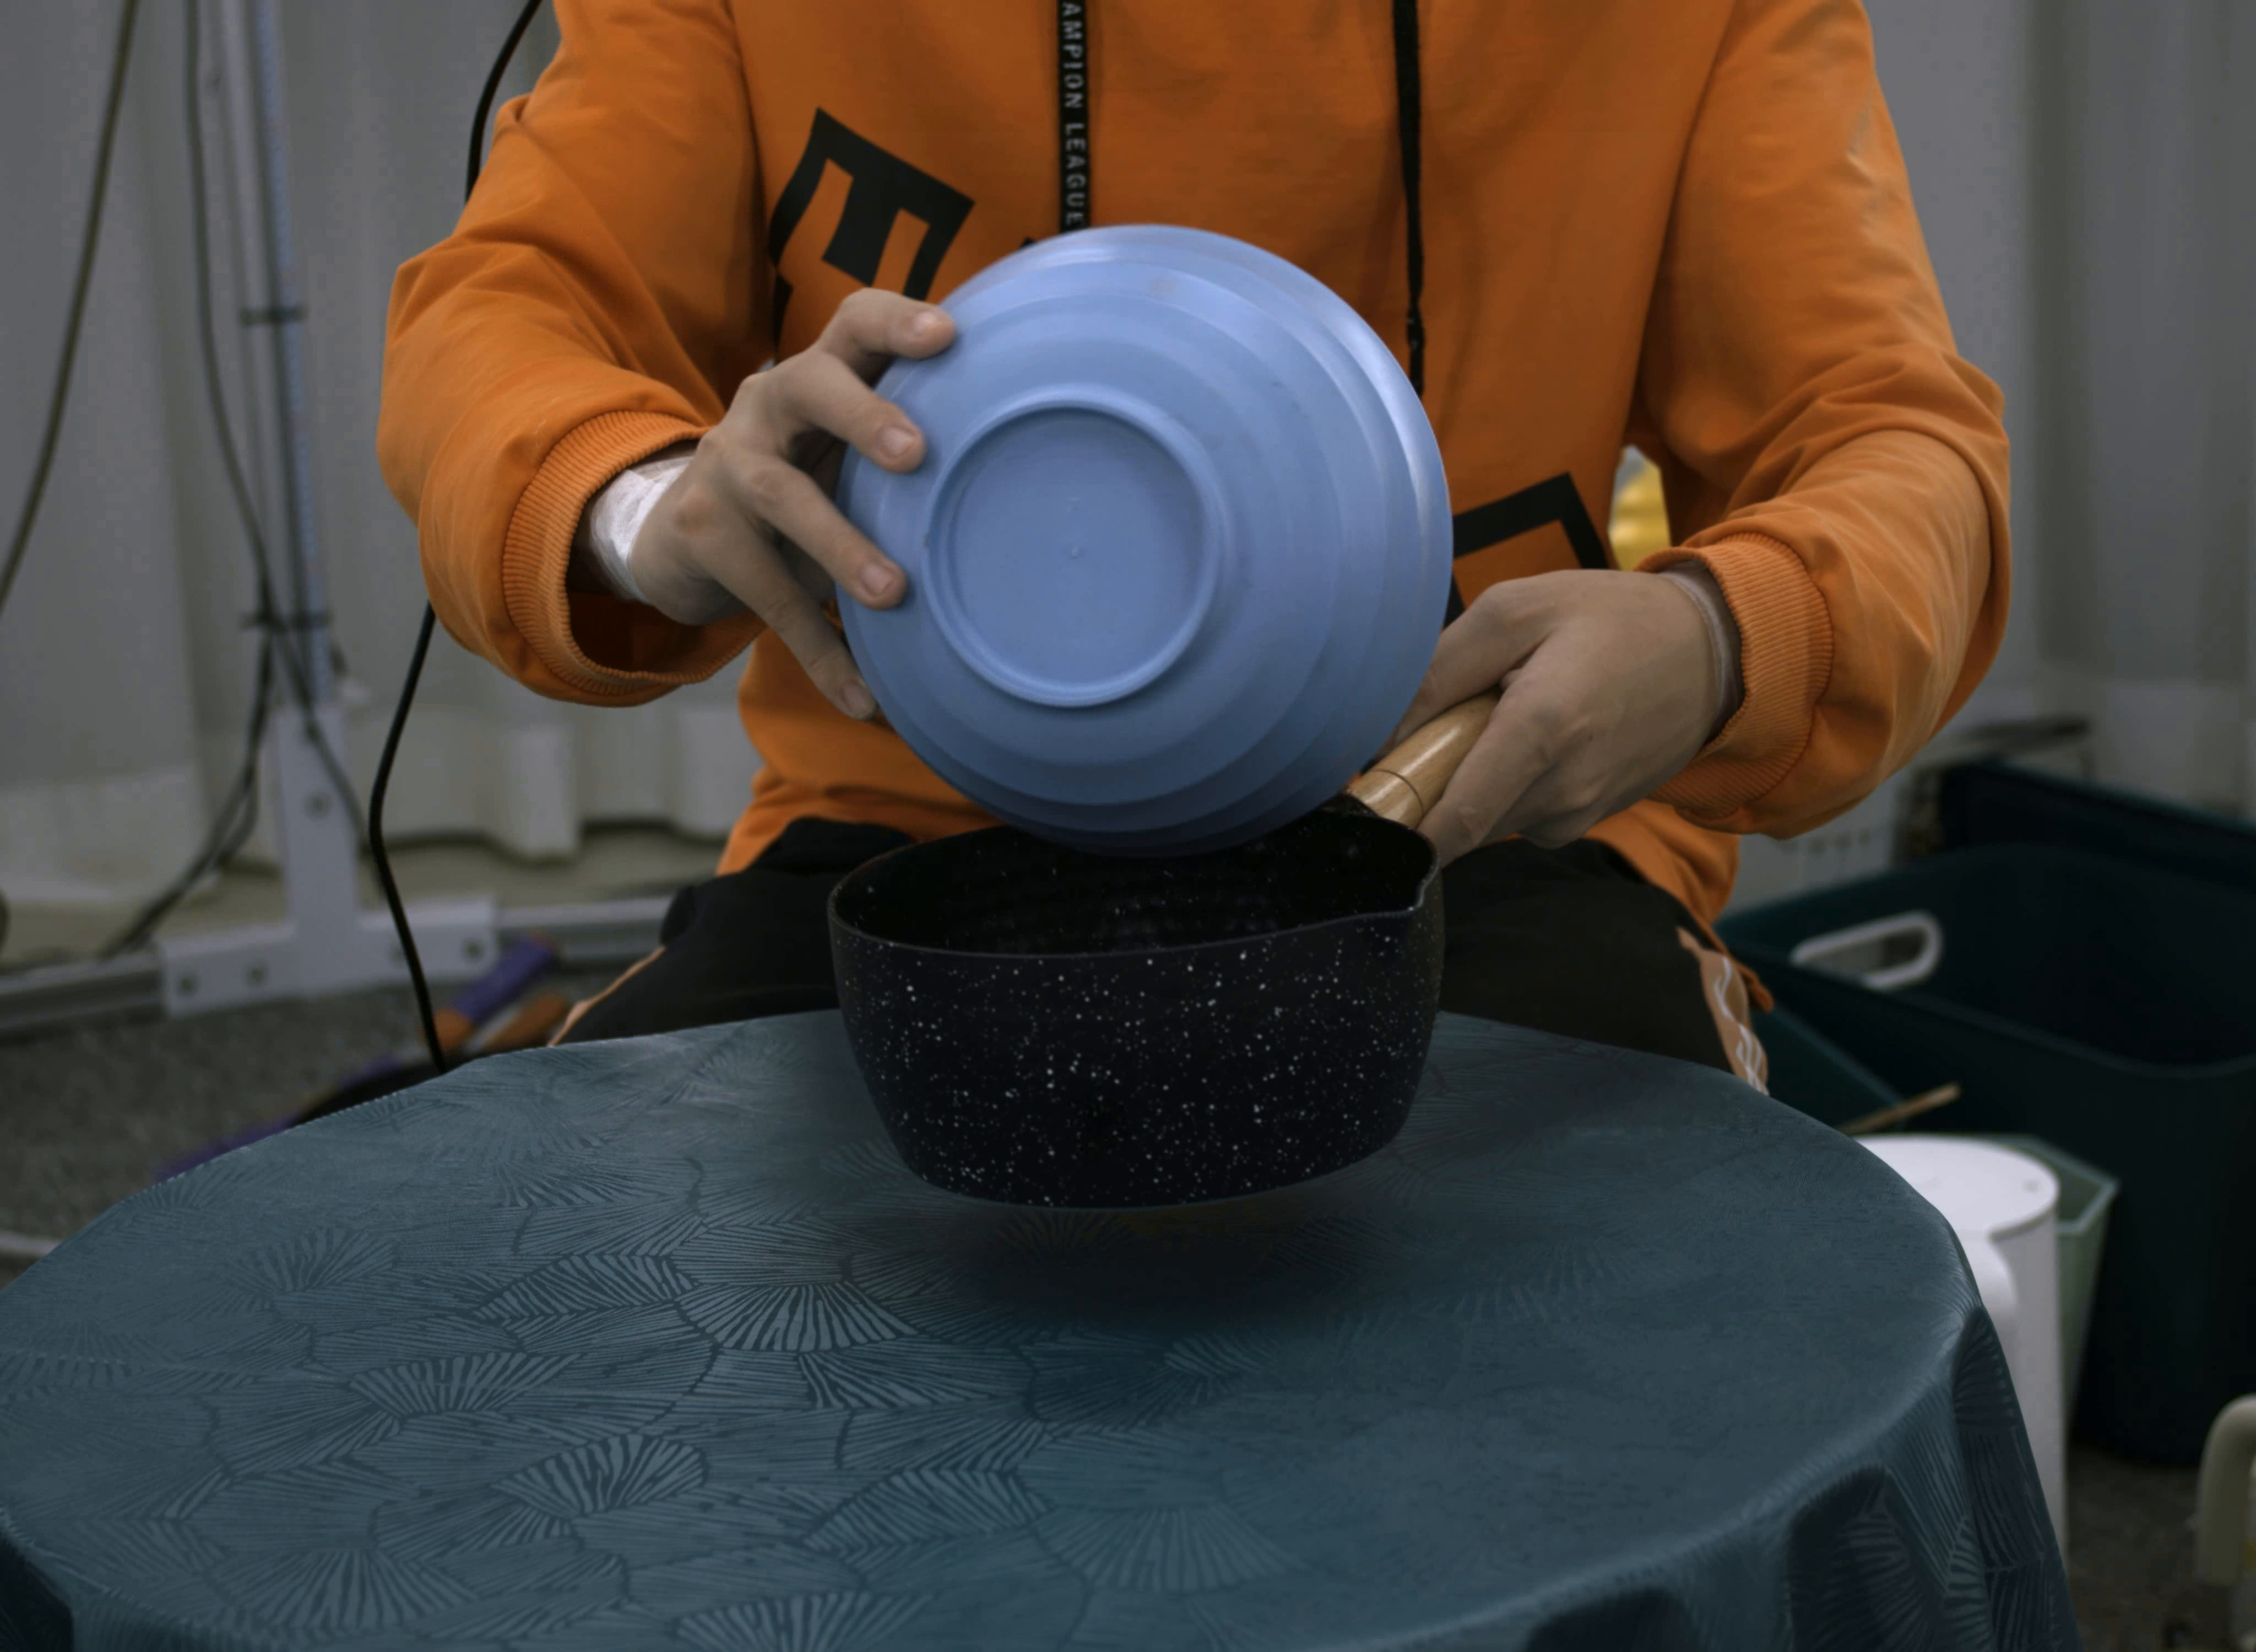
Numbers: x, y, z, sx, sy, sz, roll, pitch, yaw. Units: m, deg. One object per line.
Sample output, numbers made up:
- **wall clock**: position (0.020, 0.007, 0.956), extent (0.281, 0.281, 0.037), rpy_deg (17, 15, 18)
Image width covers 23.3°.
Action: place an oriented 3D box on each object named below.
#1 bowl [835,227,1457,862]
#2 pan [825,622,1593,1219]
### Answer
- **bowl**: position (-0.005, -0.084, 1.654), extent (0.196, 0.197, 0.095), rpy_deg (1, 3, 14)
- **pan**: position (0.049, 0.025, 1.701), extent (0.208, 0.108, 0.343), rpy_deg (3, 16, 35)
